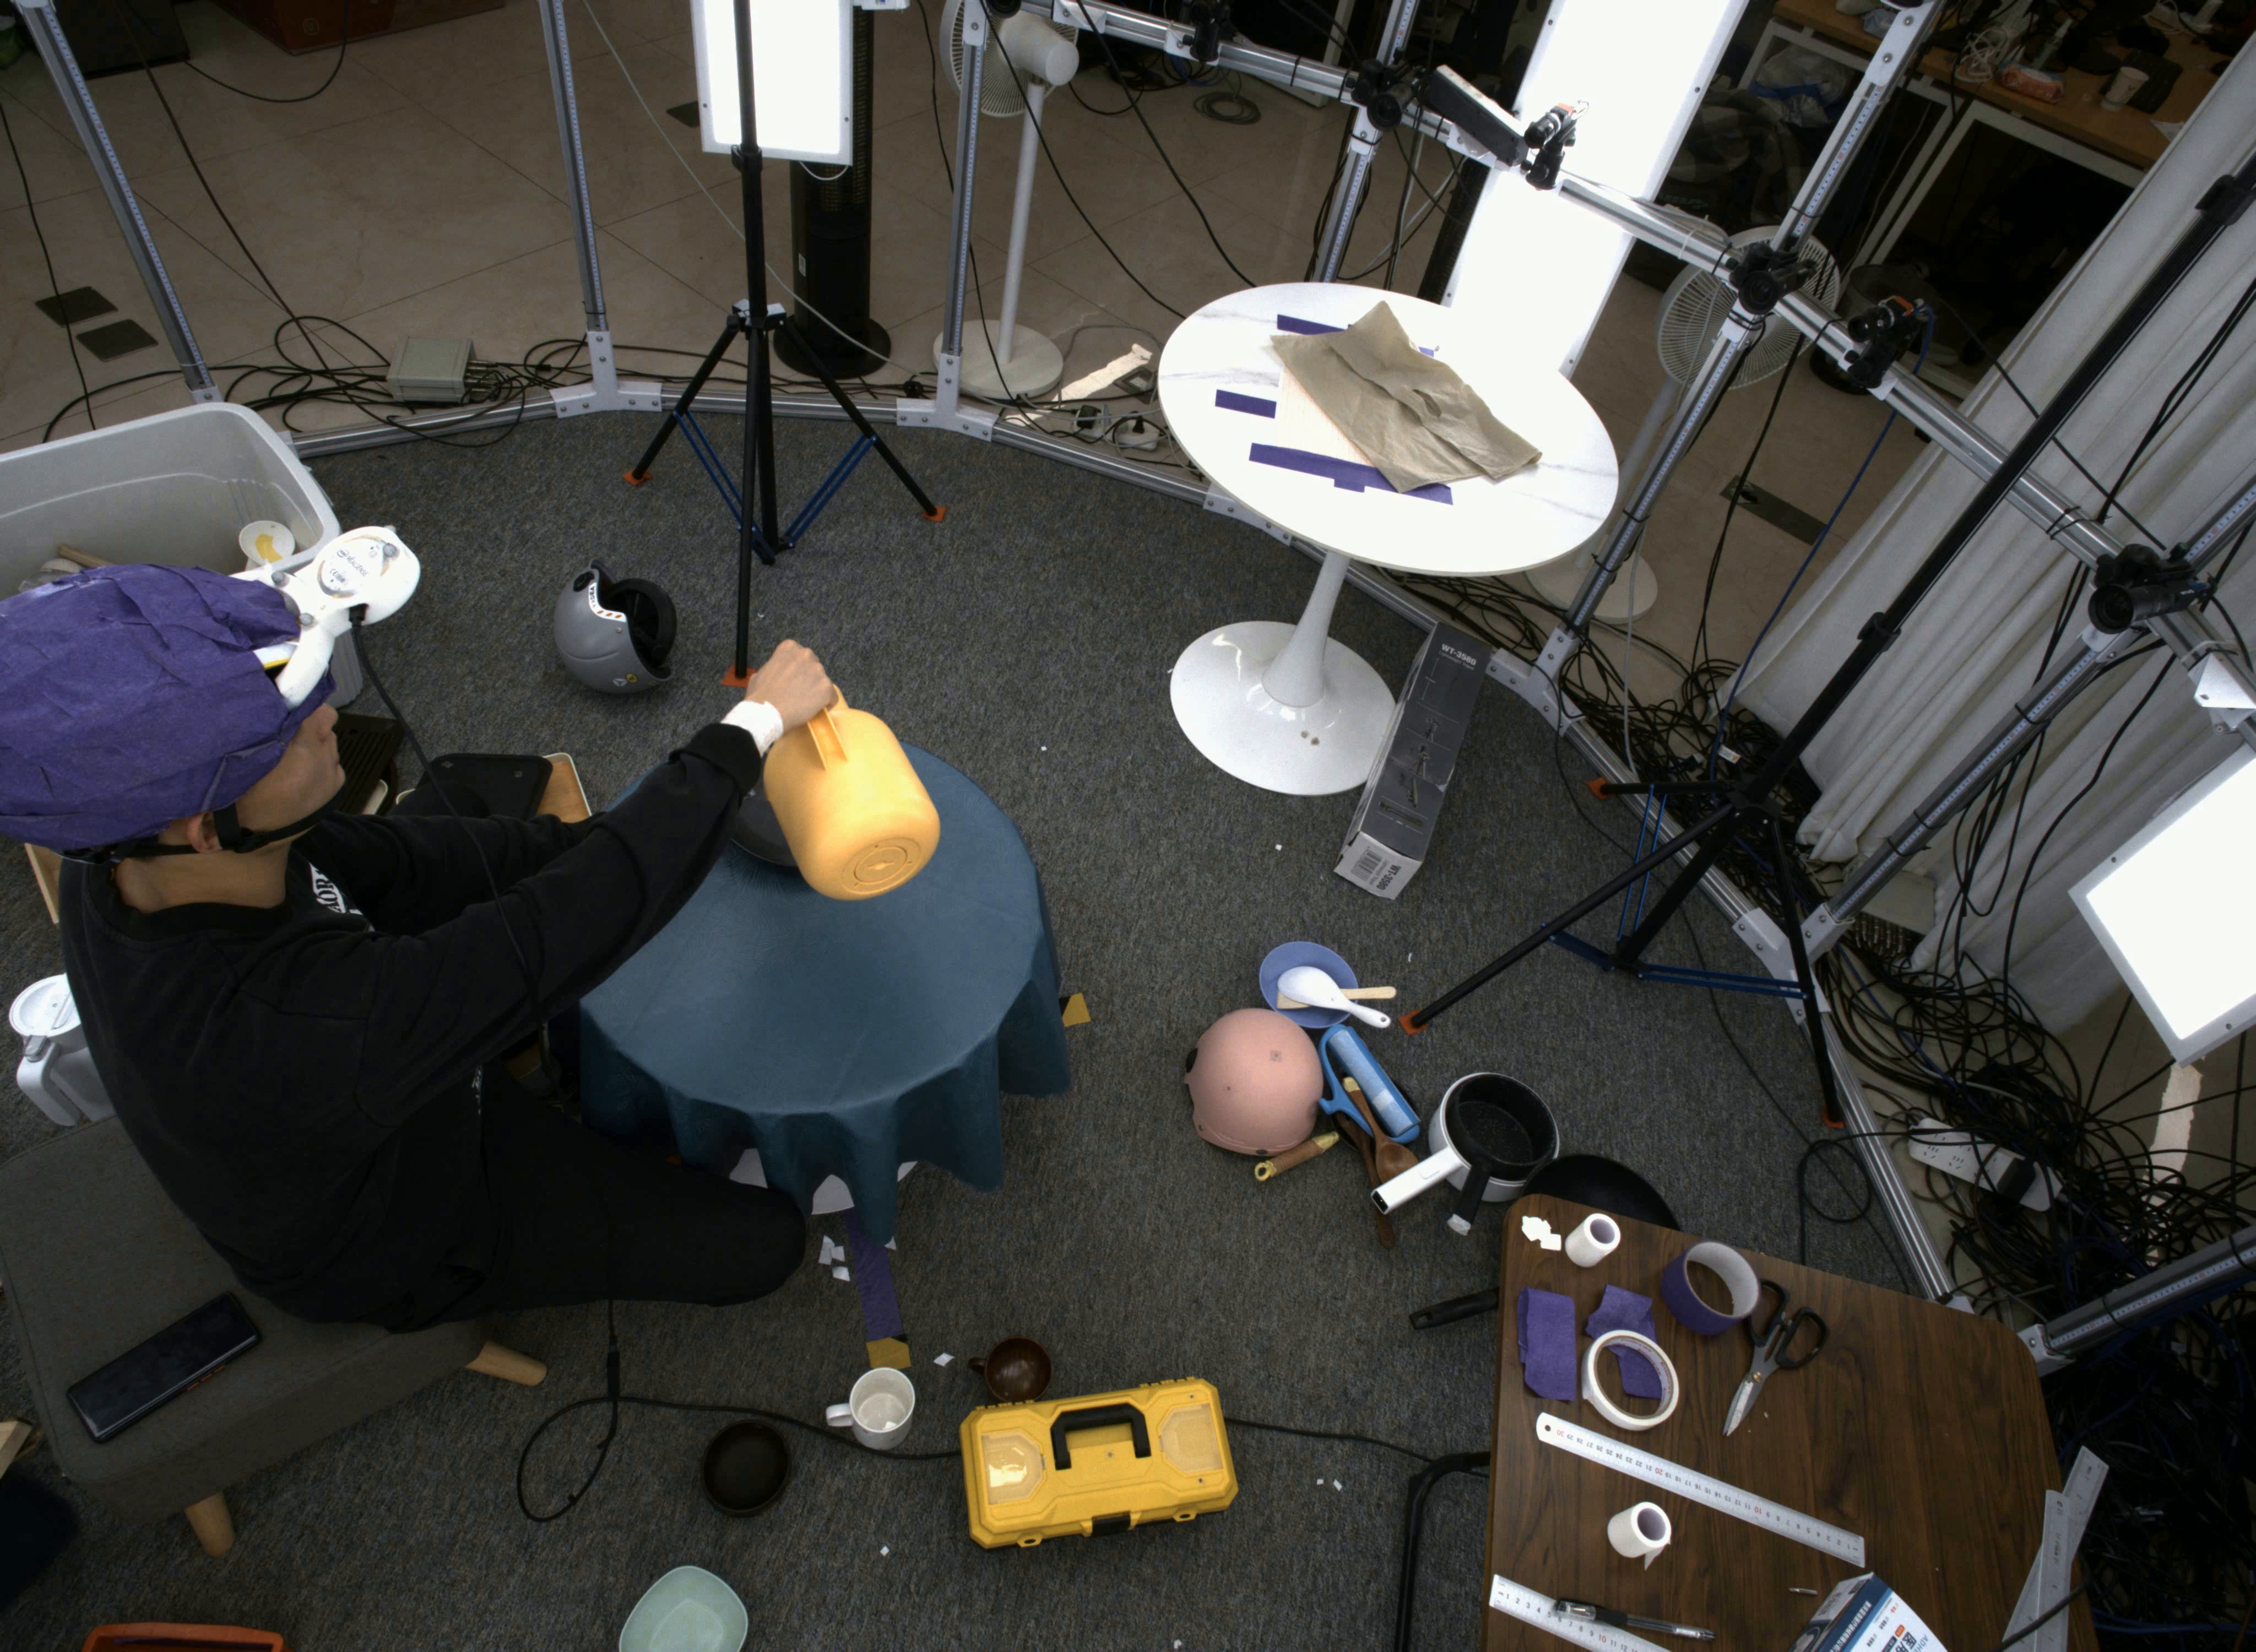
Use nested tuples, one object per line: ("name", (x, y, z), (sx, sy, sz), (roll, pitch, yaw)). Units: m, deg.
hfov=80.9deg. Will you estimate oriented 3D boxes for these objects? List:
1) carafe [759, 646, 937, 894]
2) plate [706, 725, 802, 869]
("carafe", (-0.333, -0.072, 1.441), (0.163, 0.208, 0.253), (-29, 61, -12))
("plate", (-0.434, -0.040, 1.718), (0.246, 0.024, 0.240), (13, 51, -15))
